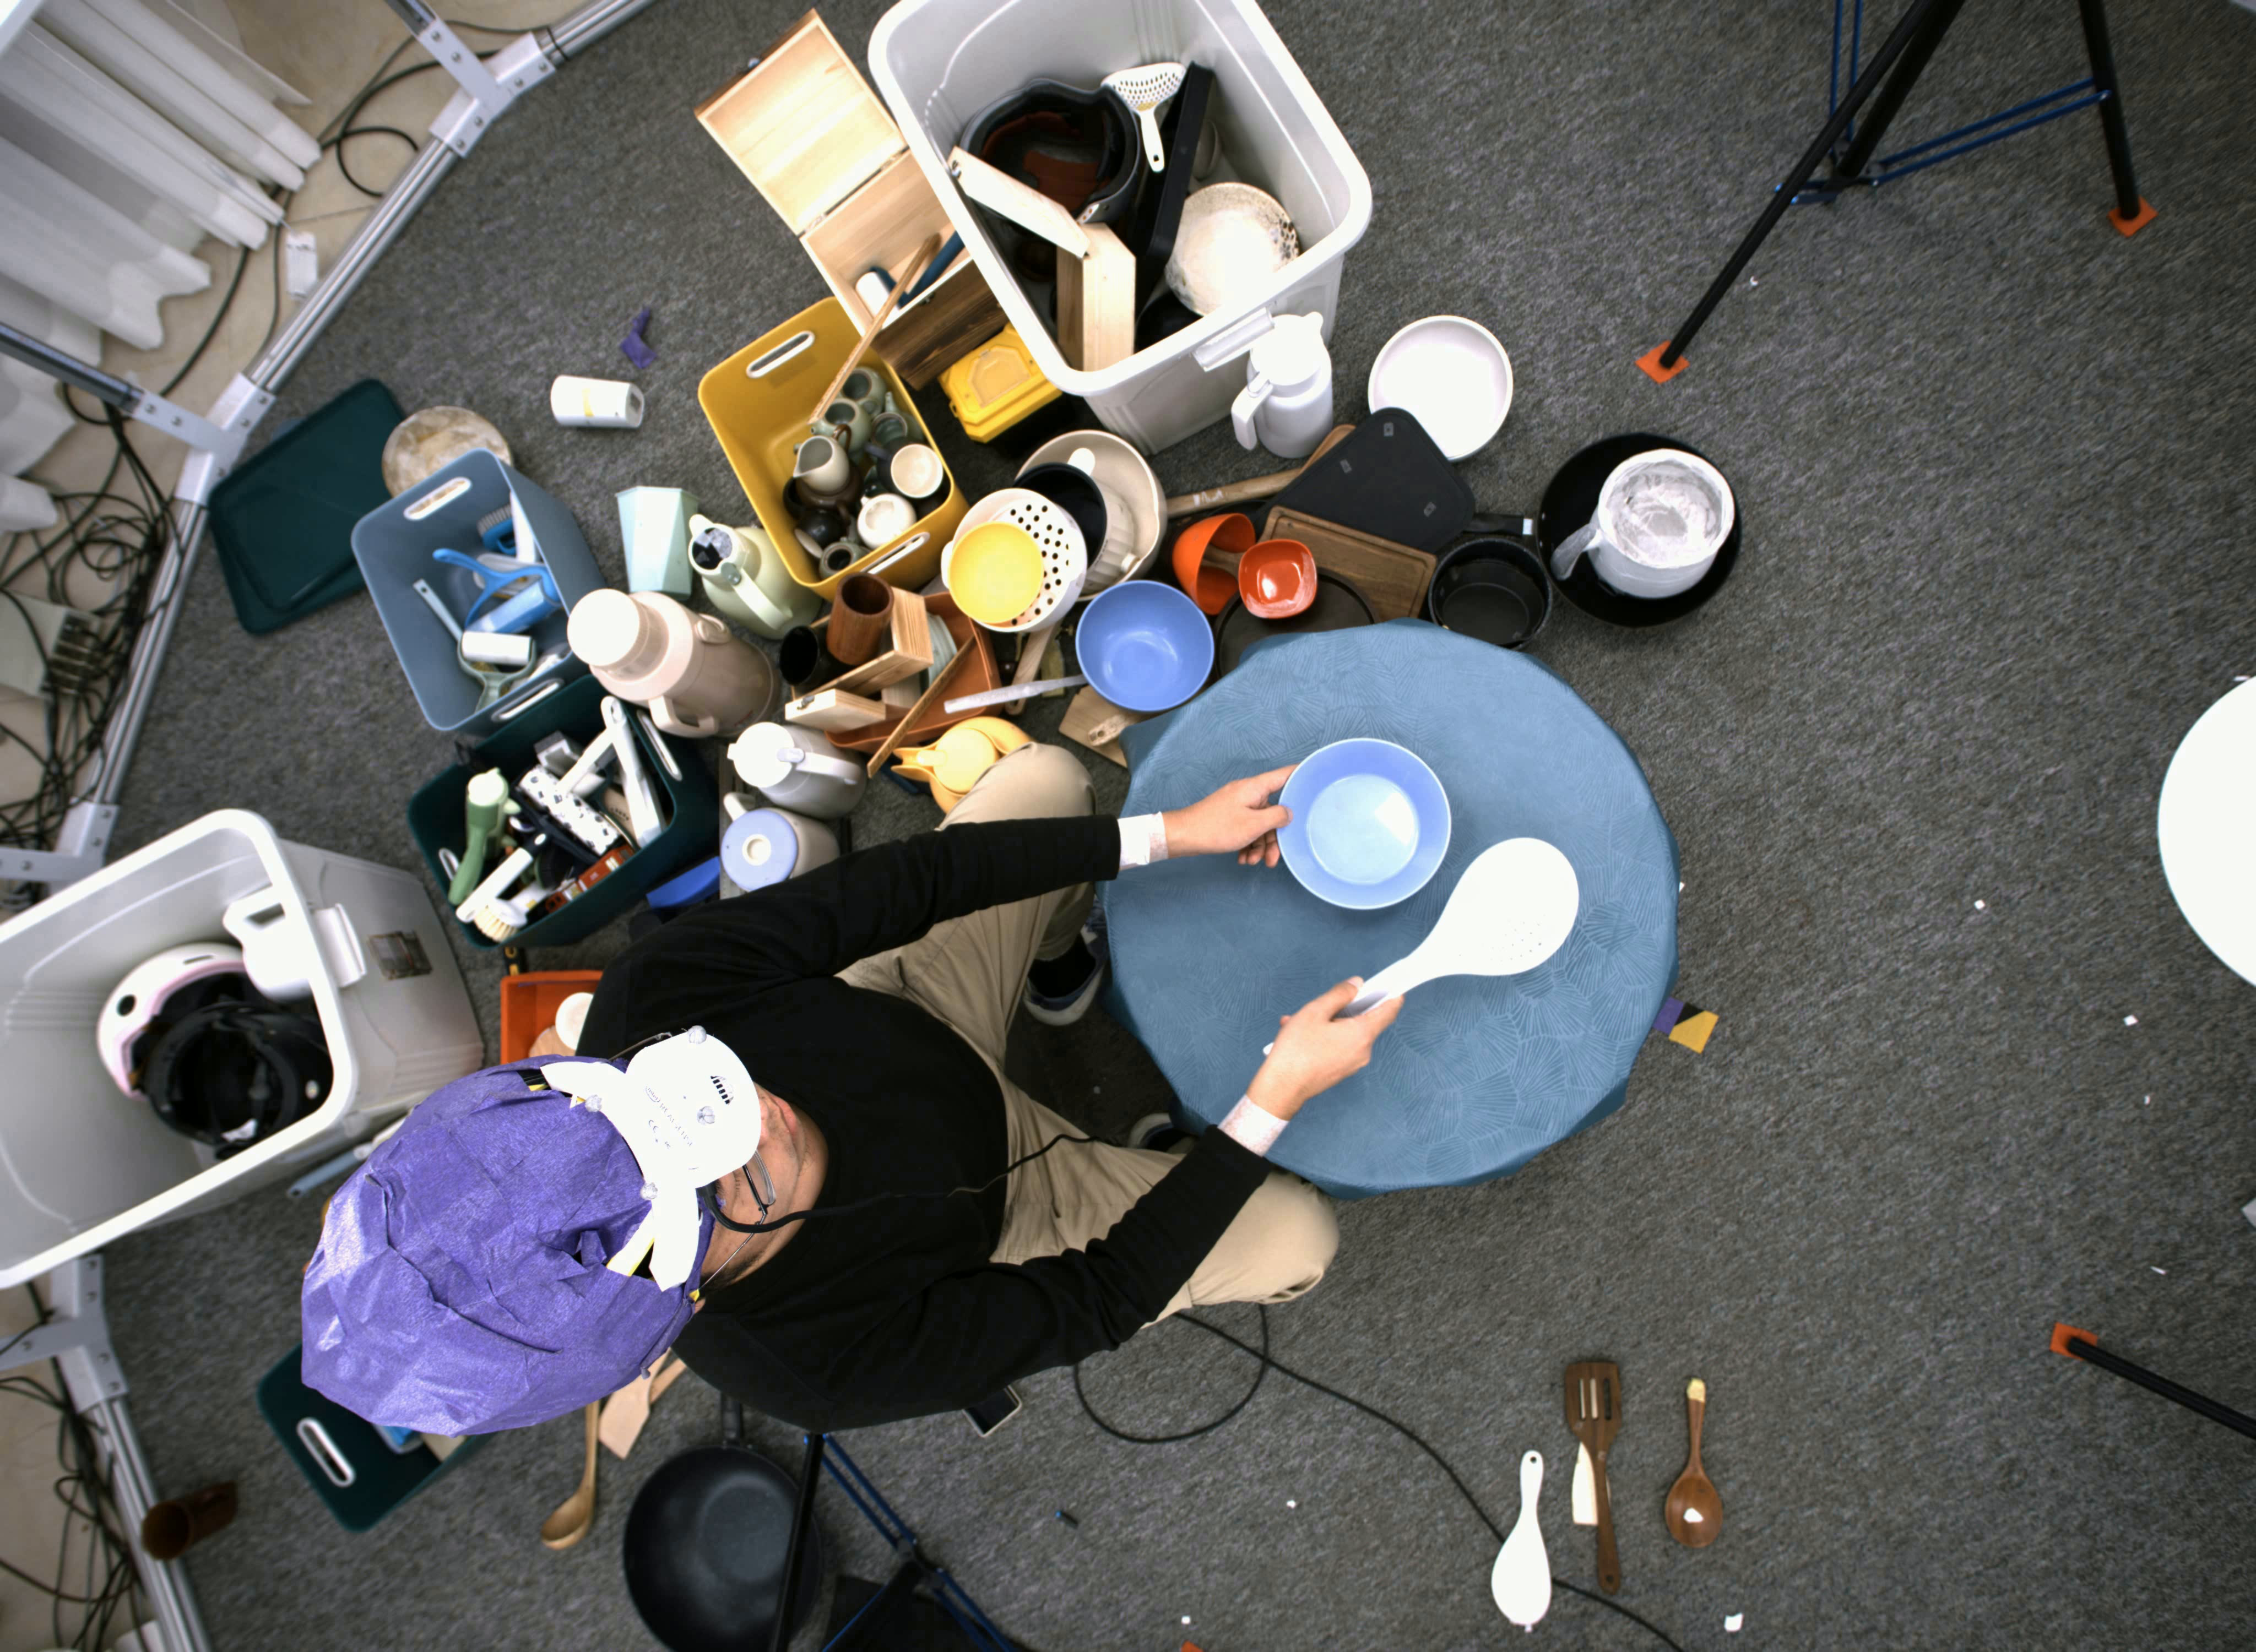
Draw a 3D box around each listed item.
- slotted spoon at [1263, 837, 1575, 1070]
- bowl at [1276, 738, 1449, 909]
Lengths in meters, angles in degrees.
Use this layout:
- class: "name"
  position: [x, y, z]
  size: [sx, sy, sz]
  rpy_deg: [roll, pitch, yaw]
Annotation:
- class: "slotted spoon"
  position: [0.280, 0.130, 1.334]
  size: [0.348, 0.045, 0.138]
  rpy_deg: [-34, 114, -6]
- class: "bowl"
  position: [0.243, -0.001, 1.433]
  size: [0.177, 0.070, 0.175]
  rpy_deg: [-1, 86, 11]
